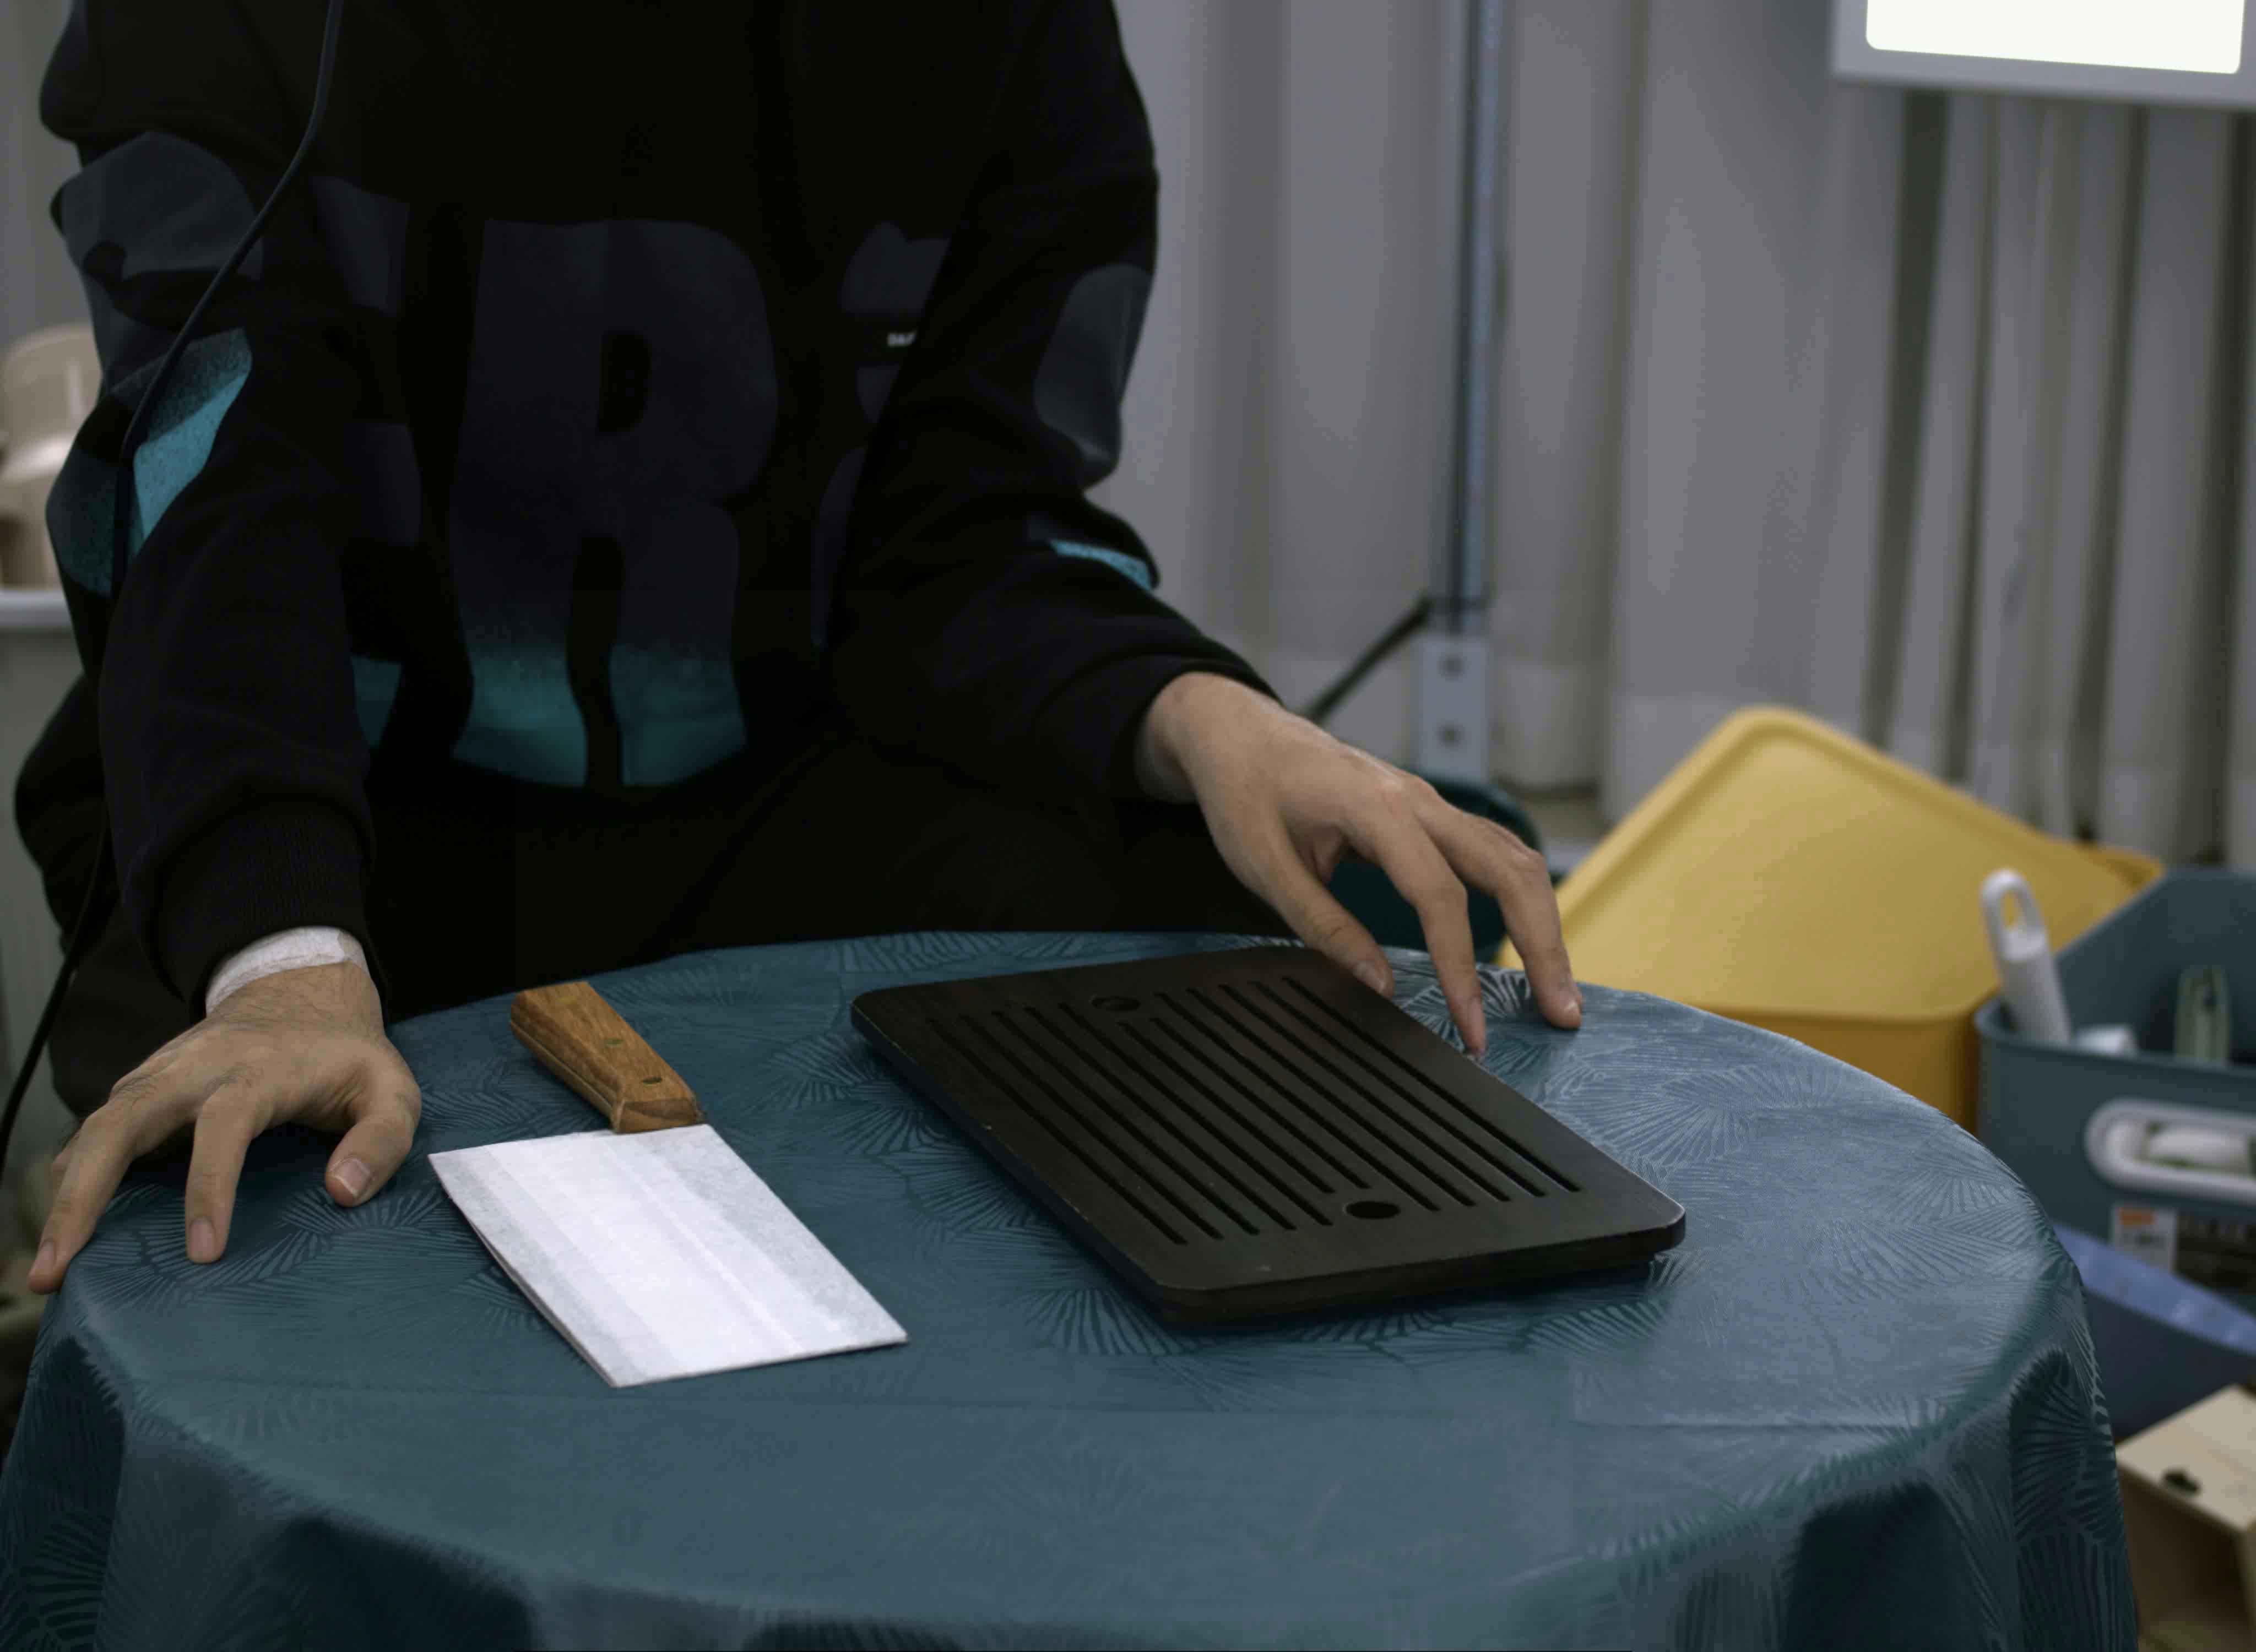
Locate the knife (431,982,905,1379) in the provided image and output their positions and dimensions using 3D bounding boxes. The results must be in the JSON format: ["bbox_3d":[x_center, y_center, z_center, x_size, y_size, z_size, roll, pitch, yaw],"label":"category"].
[{"bbox_3d":[-0.160,0.107,1.609,0.093,0.021,0.302,-8,20,-22],"label":"knife"}]

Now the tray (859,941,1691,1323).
[{"bbox_3d":[0.039,0.093,1.660,0.170,0.019,0.302,-6,17,-20],"label":"tray"}]
